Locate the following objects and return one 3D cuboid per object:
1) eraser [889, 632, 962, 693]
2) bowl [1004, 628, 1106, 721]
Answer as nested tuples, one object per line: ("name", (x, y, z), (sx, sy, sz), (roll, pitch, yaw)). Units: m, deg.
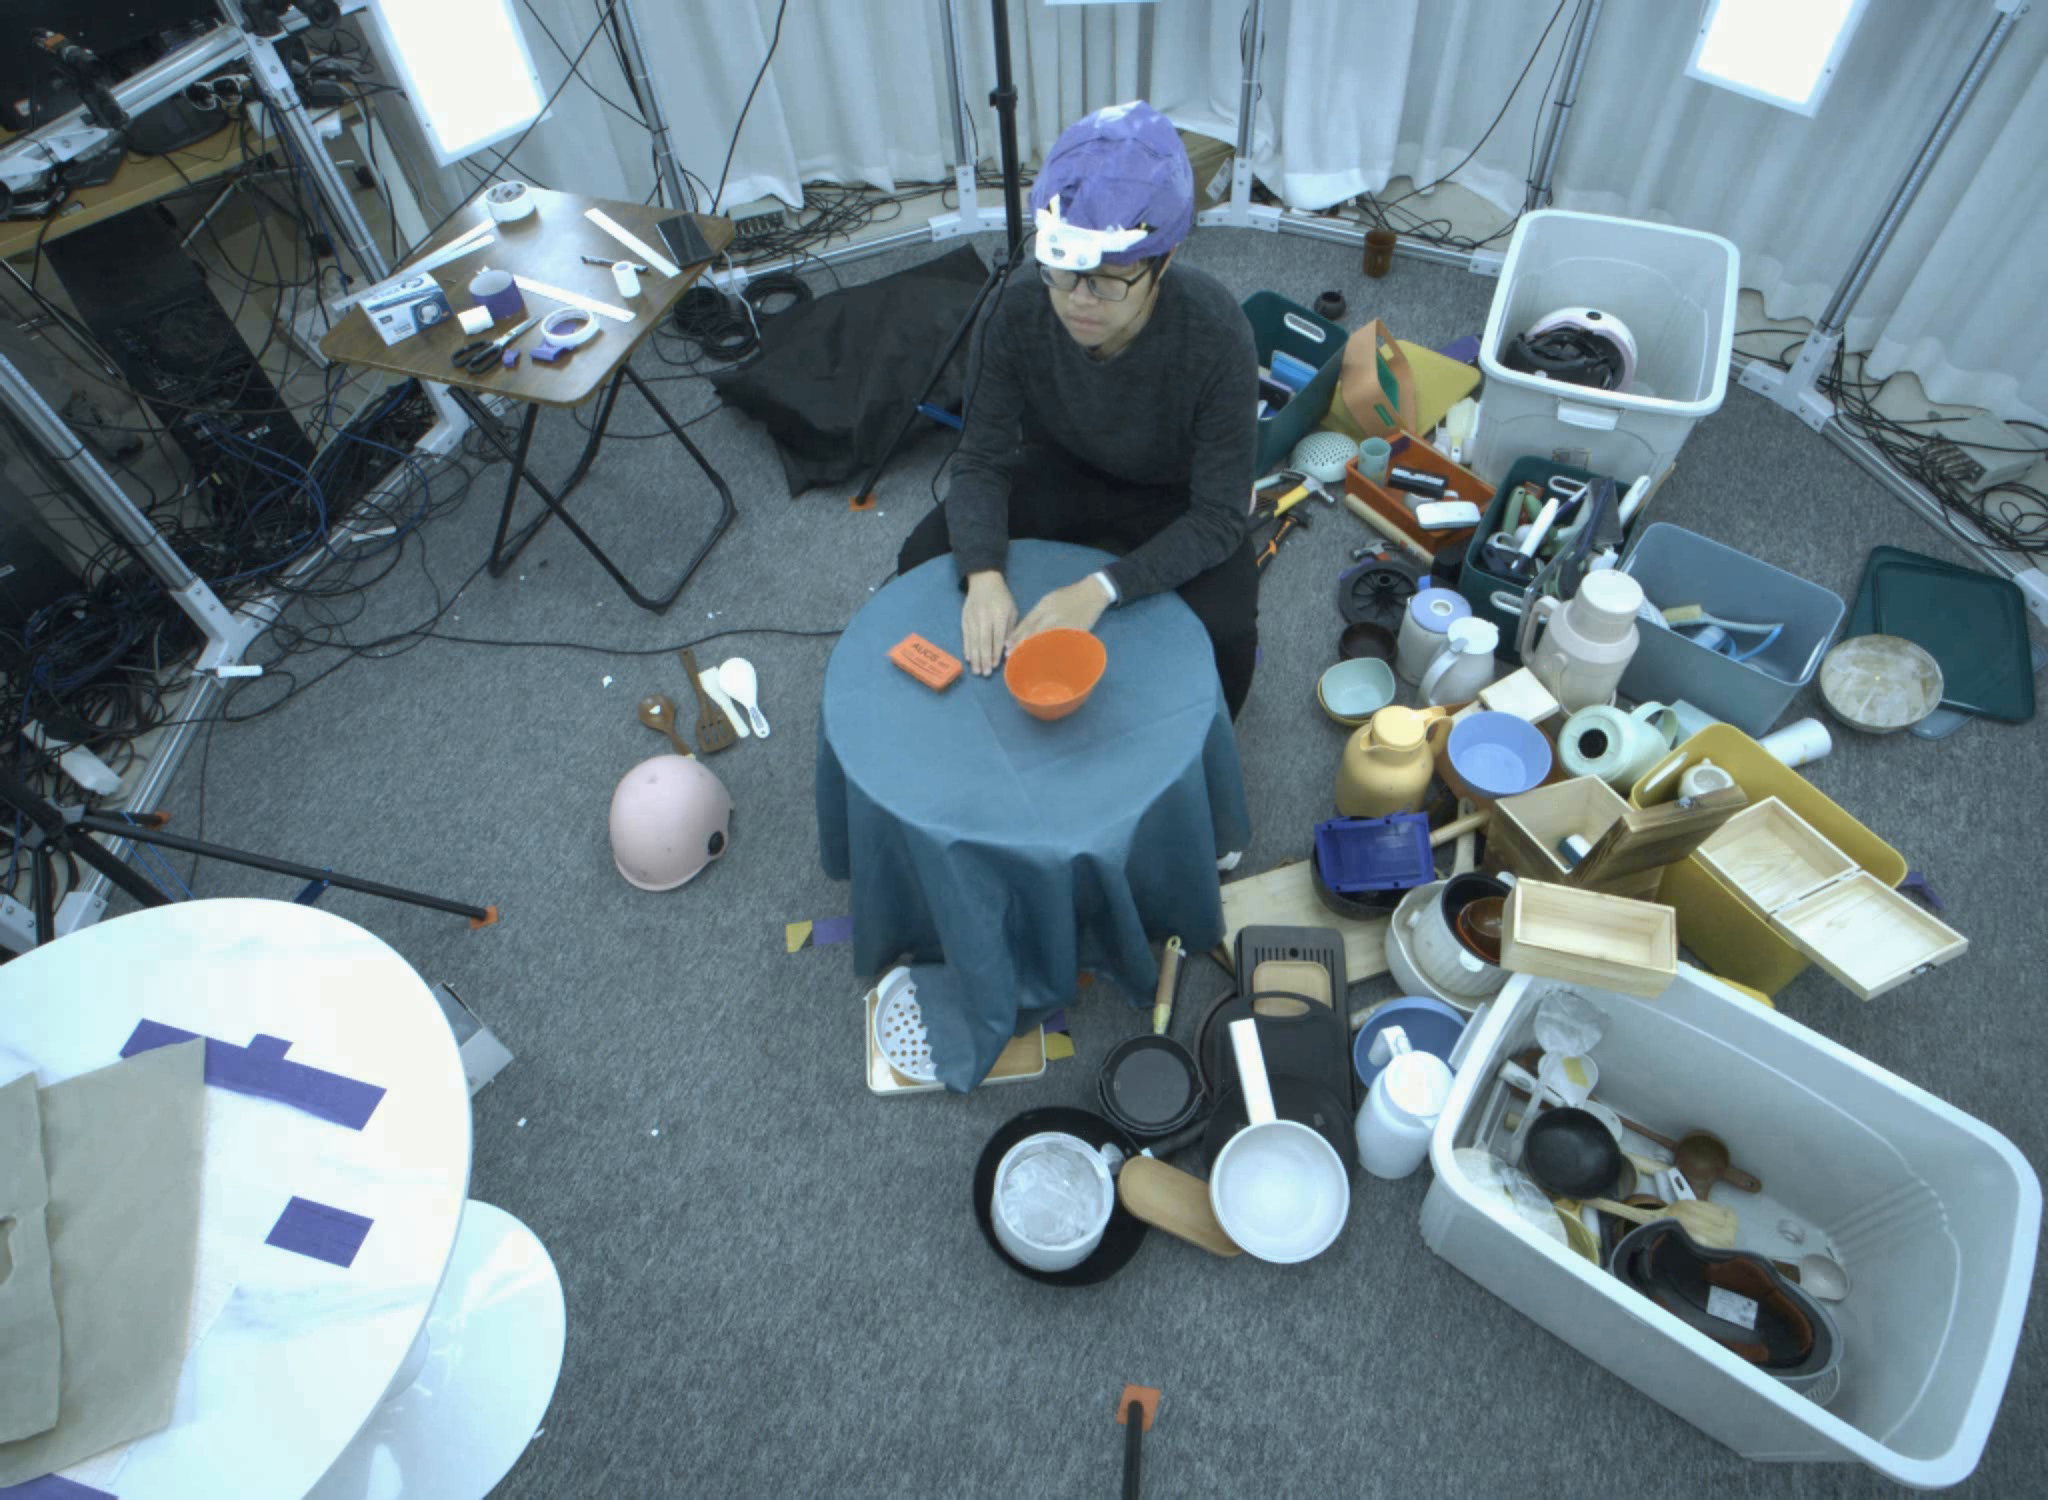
("eraser", (-0.151, -0.134, 1.870), (0.106, 0.023, 0.059), (33, 64, 21))
("bowl", (0.045, -0.097, 1.793), (0.148, 0.106, 0.146), (-1, 55, 2))
